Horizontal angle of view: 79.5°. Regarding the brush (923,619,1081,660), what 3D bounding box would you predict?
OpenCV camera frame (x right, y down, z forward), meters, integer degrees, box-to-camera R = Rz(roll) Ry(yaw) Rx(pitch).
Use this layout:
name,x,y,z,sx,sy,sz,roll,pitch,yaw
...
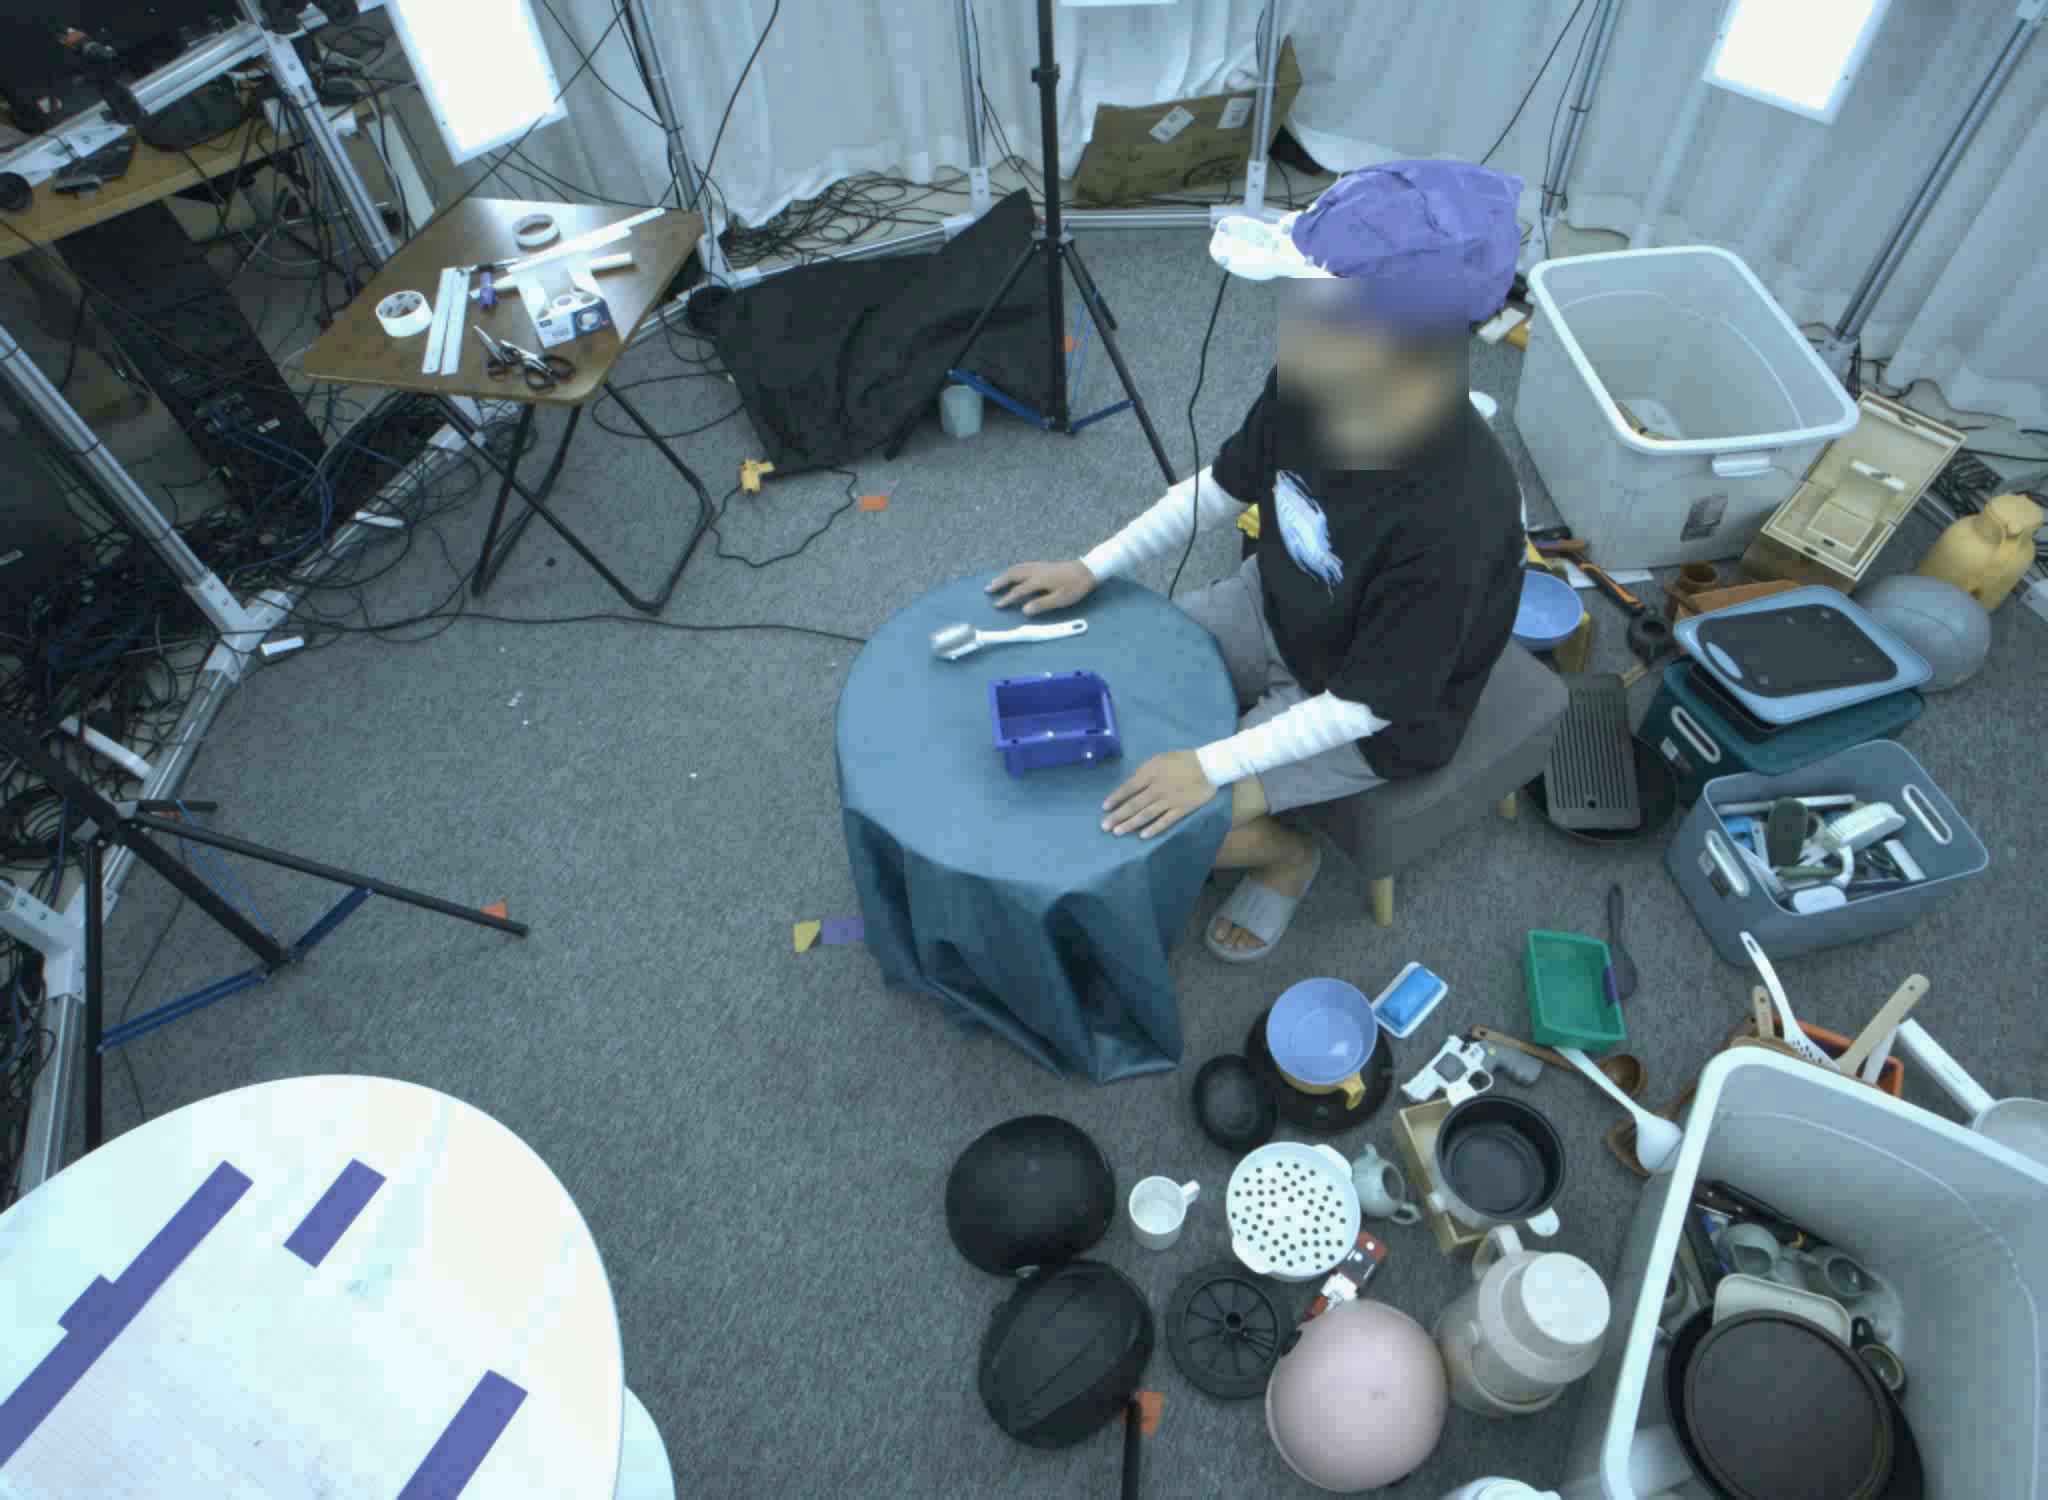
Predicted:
name,x,y,z,sx,sy,sz,roll,pitch,yaw
brush,-0.033,-0.183,1.880,0.244,0.051,0.034,-11,54,-5

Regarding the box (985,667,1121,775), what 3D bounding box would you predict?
name,x,y,z,sx,sy,sz,roll,pitch,yaw
box,0.041,-0.044,1.759,0.179,0.083,0.123,-7,54,-1
